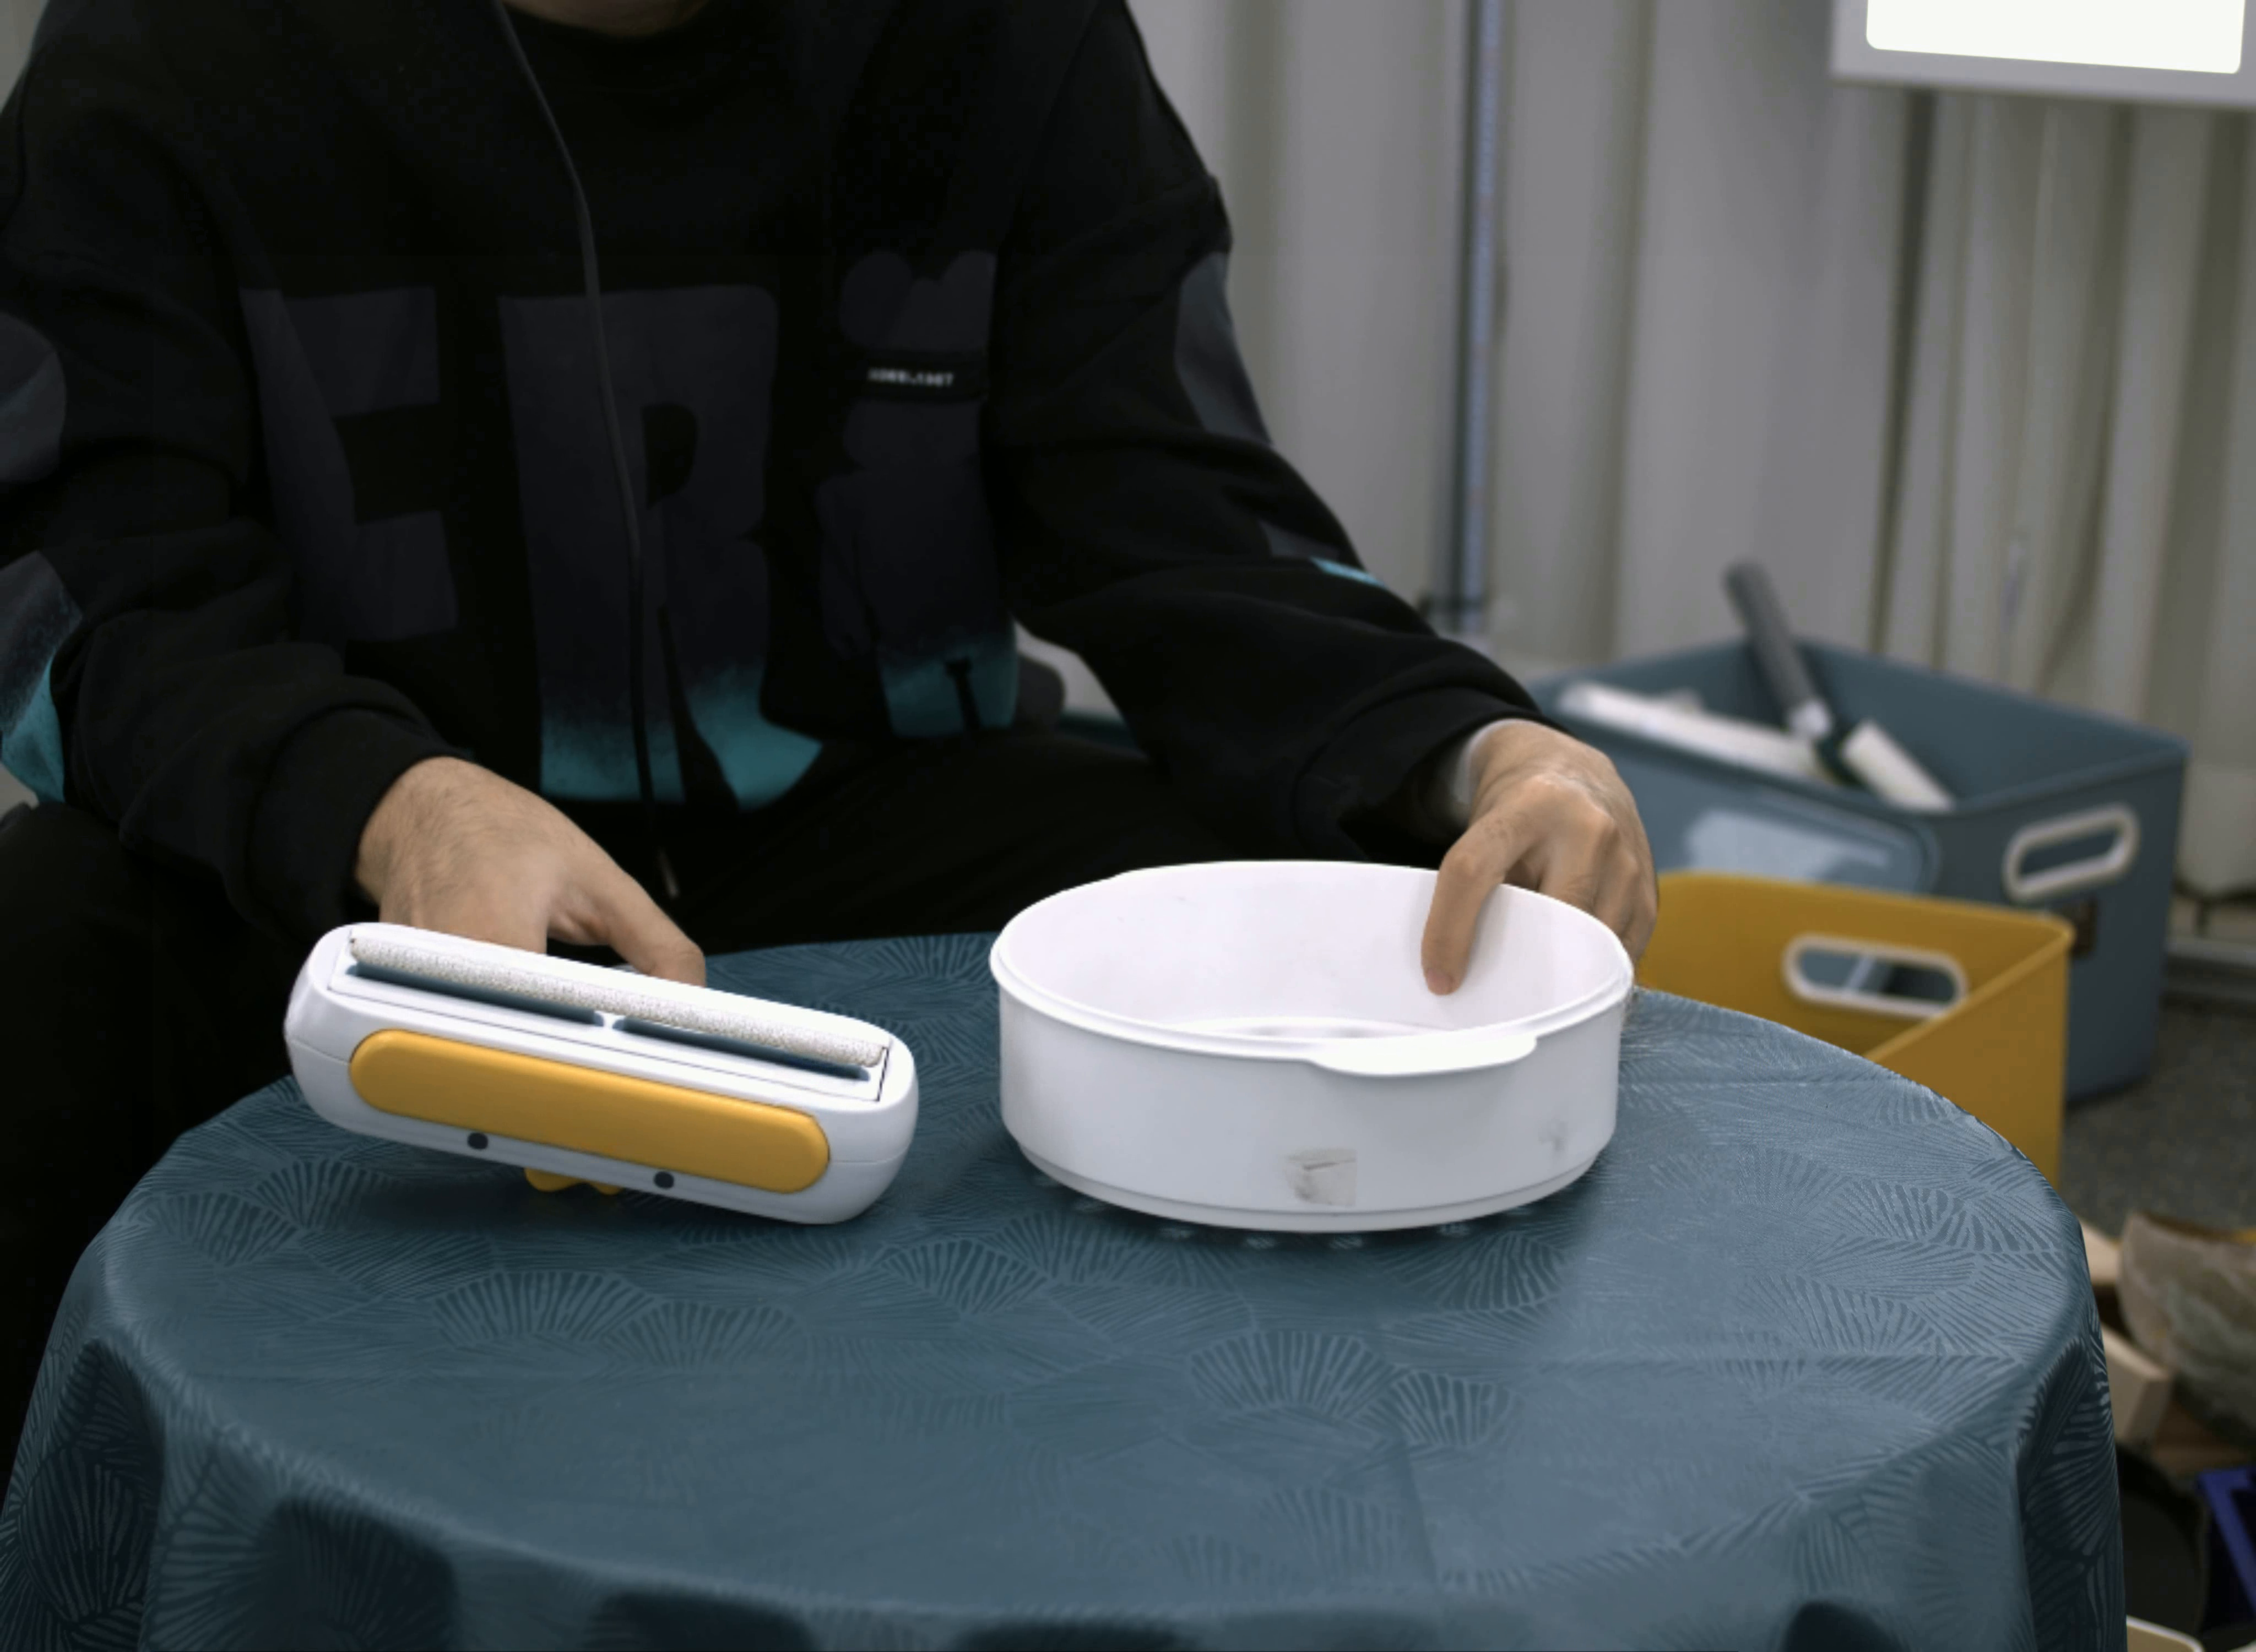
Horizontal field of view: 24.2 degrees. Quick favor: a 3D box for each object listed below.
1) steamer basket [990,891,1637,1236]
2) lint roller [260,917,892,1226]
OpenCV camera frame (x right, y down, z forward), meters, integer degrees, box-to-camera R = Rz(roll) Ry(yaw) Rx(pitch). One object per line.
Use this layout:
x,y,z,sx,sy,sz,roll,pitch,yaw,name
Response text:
0.057,0.074,1.644,0.202,0.070,0.228,-3,13,-19,steamer basket
-0.163,0.065,1.653,0.192,0.075,0.191,9,16,2,lint roller
